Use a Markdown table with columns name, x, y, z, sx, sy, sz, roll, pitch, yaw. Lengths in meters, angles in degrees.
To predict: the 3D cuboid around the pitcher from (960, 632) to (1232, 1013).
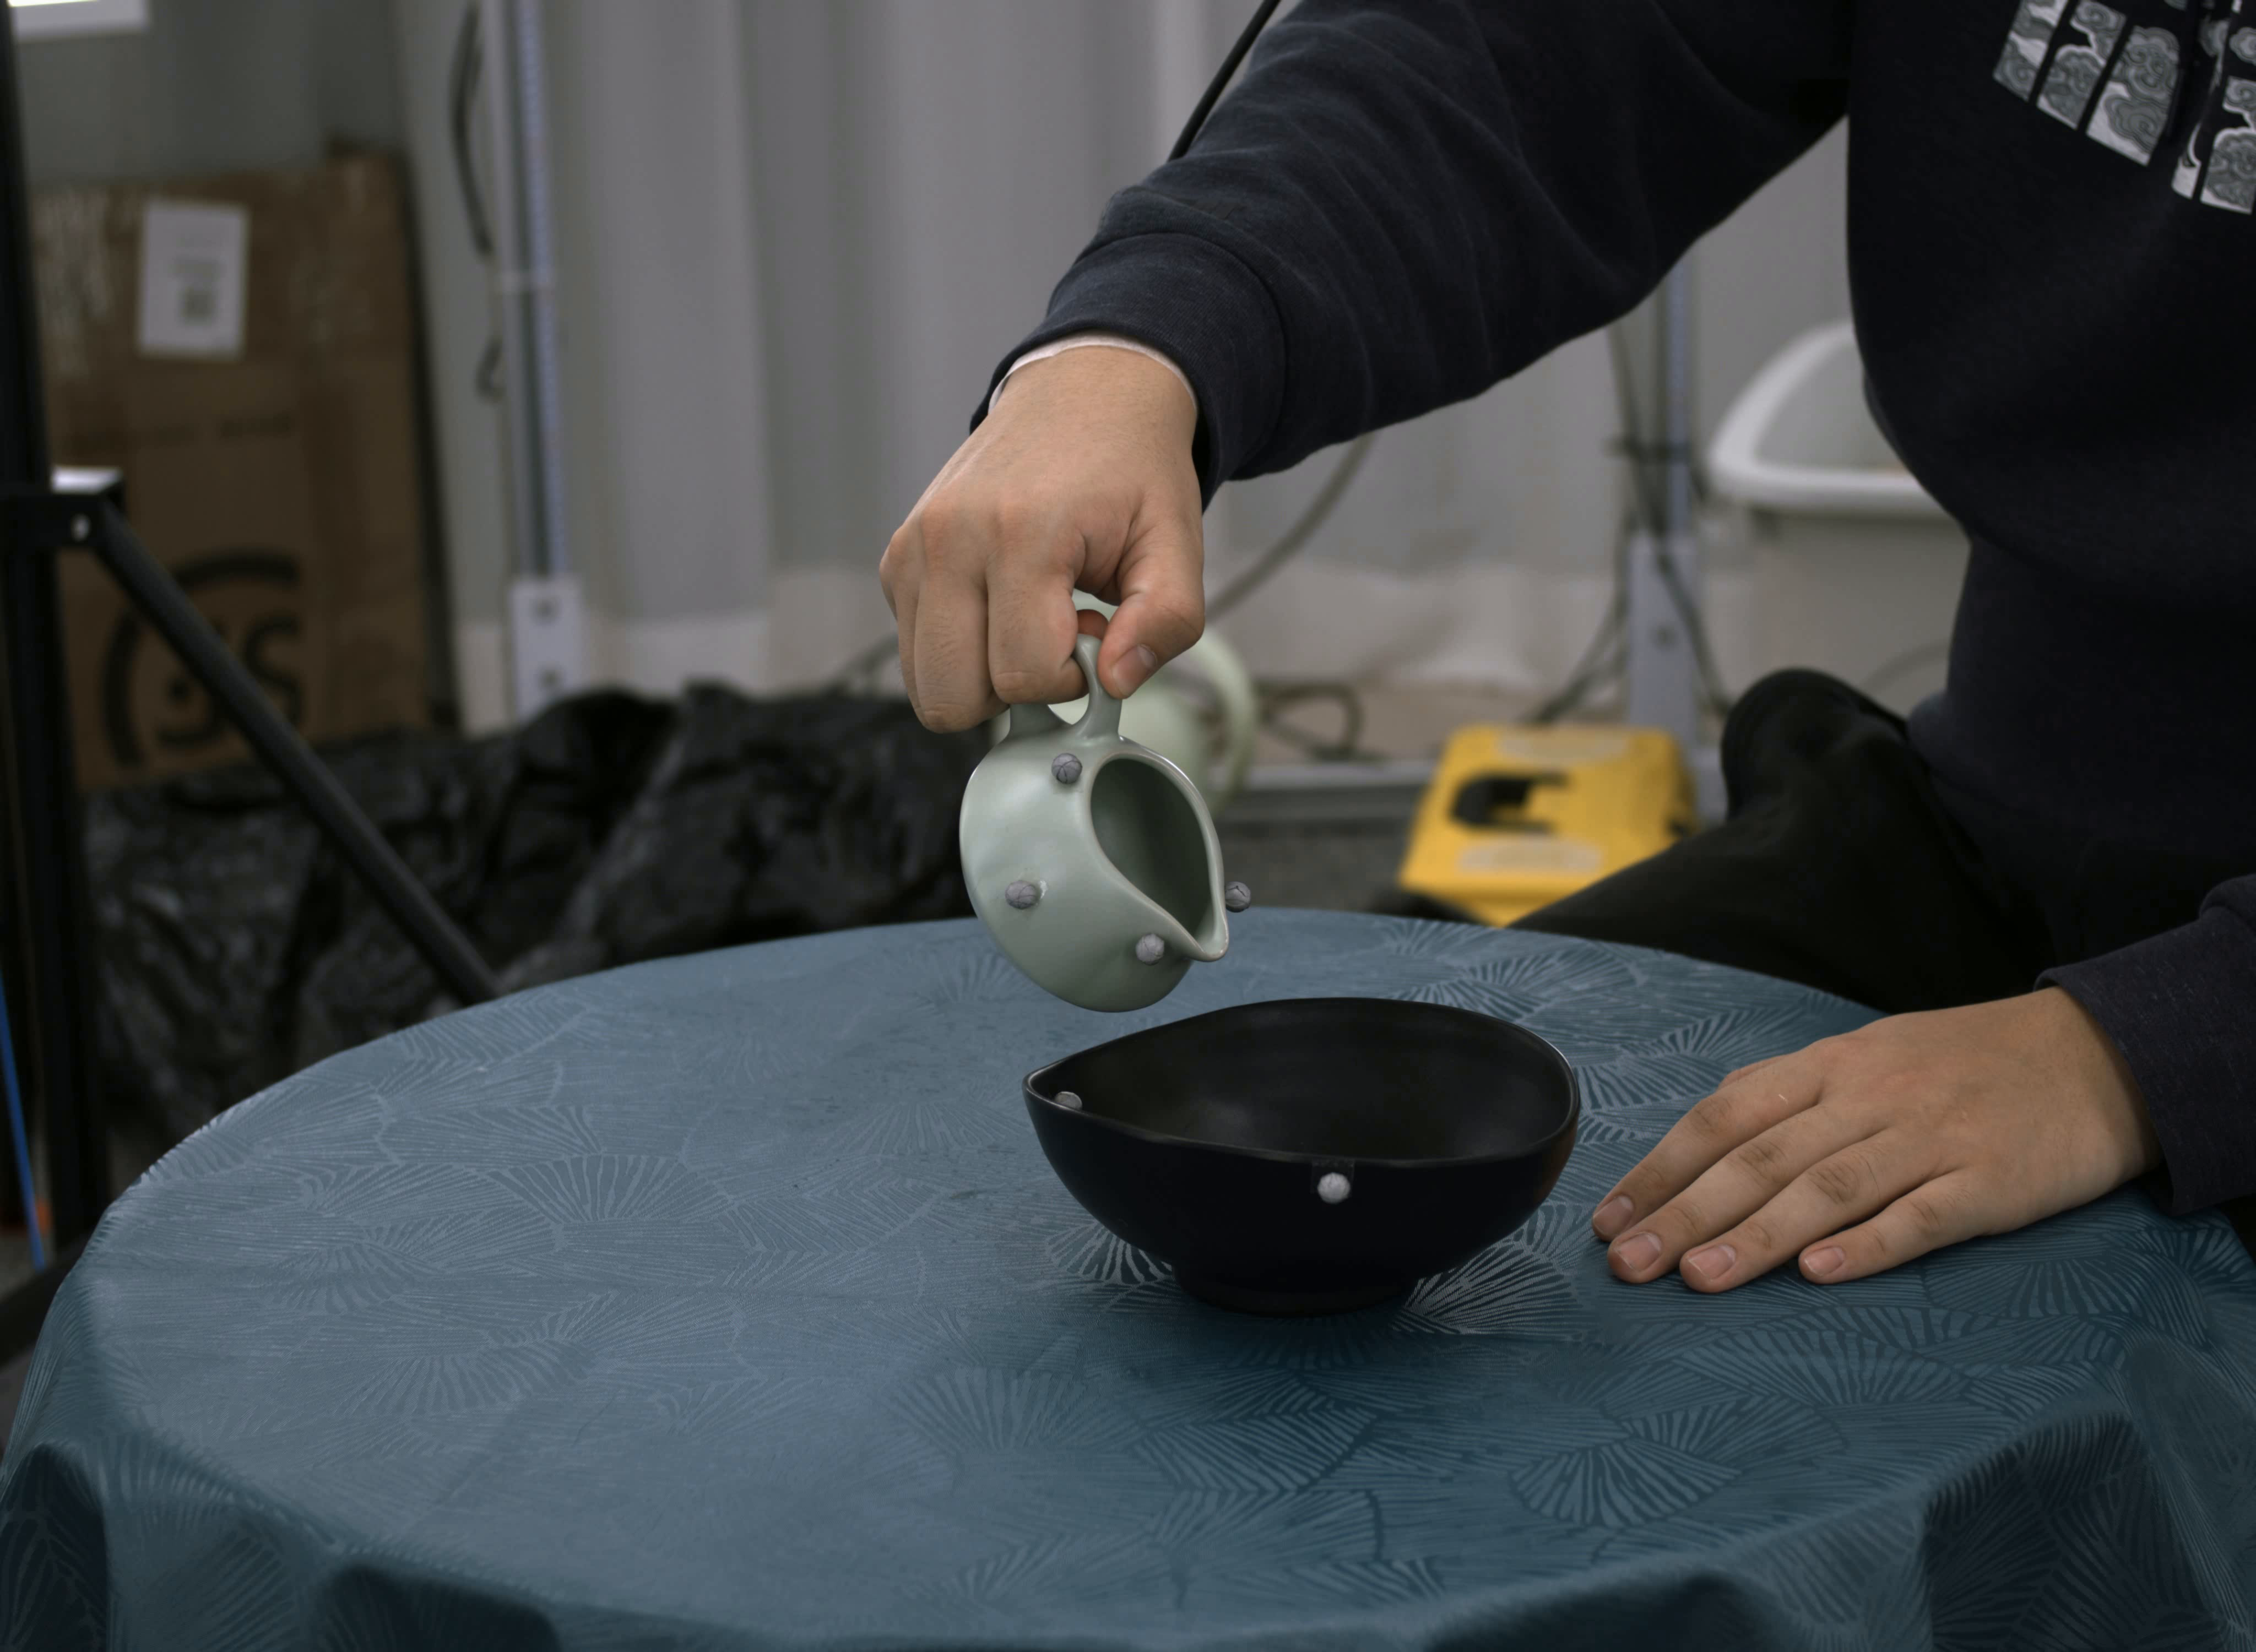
| name | x | y | z | sx | sy | sz | roll | pitch | yaw |
| --- | --- | --- | --- | --- | --- | --- | --- | --- | --- |
| pitcher | -0.012 | -0.001 | 1.497 | 0.084 | 0.109 | 0.061 | -15 | -14 | -46 |

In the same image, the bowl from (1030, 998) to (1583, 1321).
| name | x | y | z | sx | sy | sz | roll | pitch | yaw |
| --- | --- | --- | --- | --- | --- | --- | --- | --- | --- |
| bowl | 0.048 | 0.097 | 1.475 | 0.174 | 0.067 | 0.134 | 10 | 19 | 41 |
